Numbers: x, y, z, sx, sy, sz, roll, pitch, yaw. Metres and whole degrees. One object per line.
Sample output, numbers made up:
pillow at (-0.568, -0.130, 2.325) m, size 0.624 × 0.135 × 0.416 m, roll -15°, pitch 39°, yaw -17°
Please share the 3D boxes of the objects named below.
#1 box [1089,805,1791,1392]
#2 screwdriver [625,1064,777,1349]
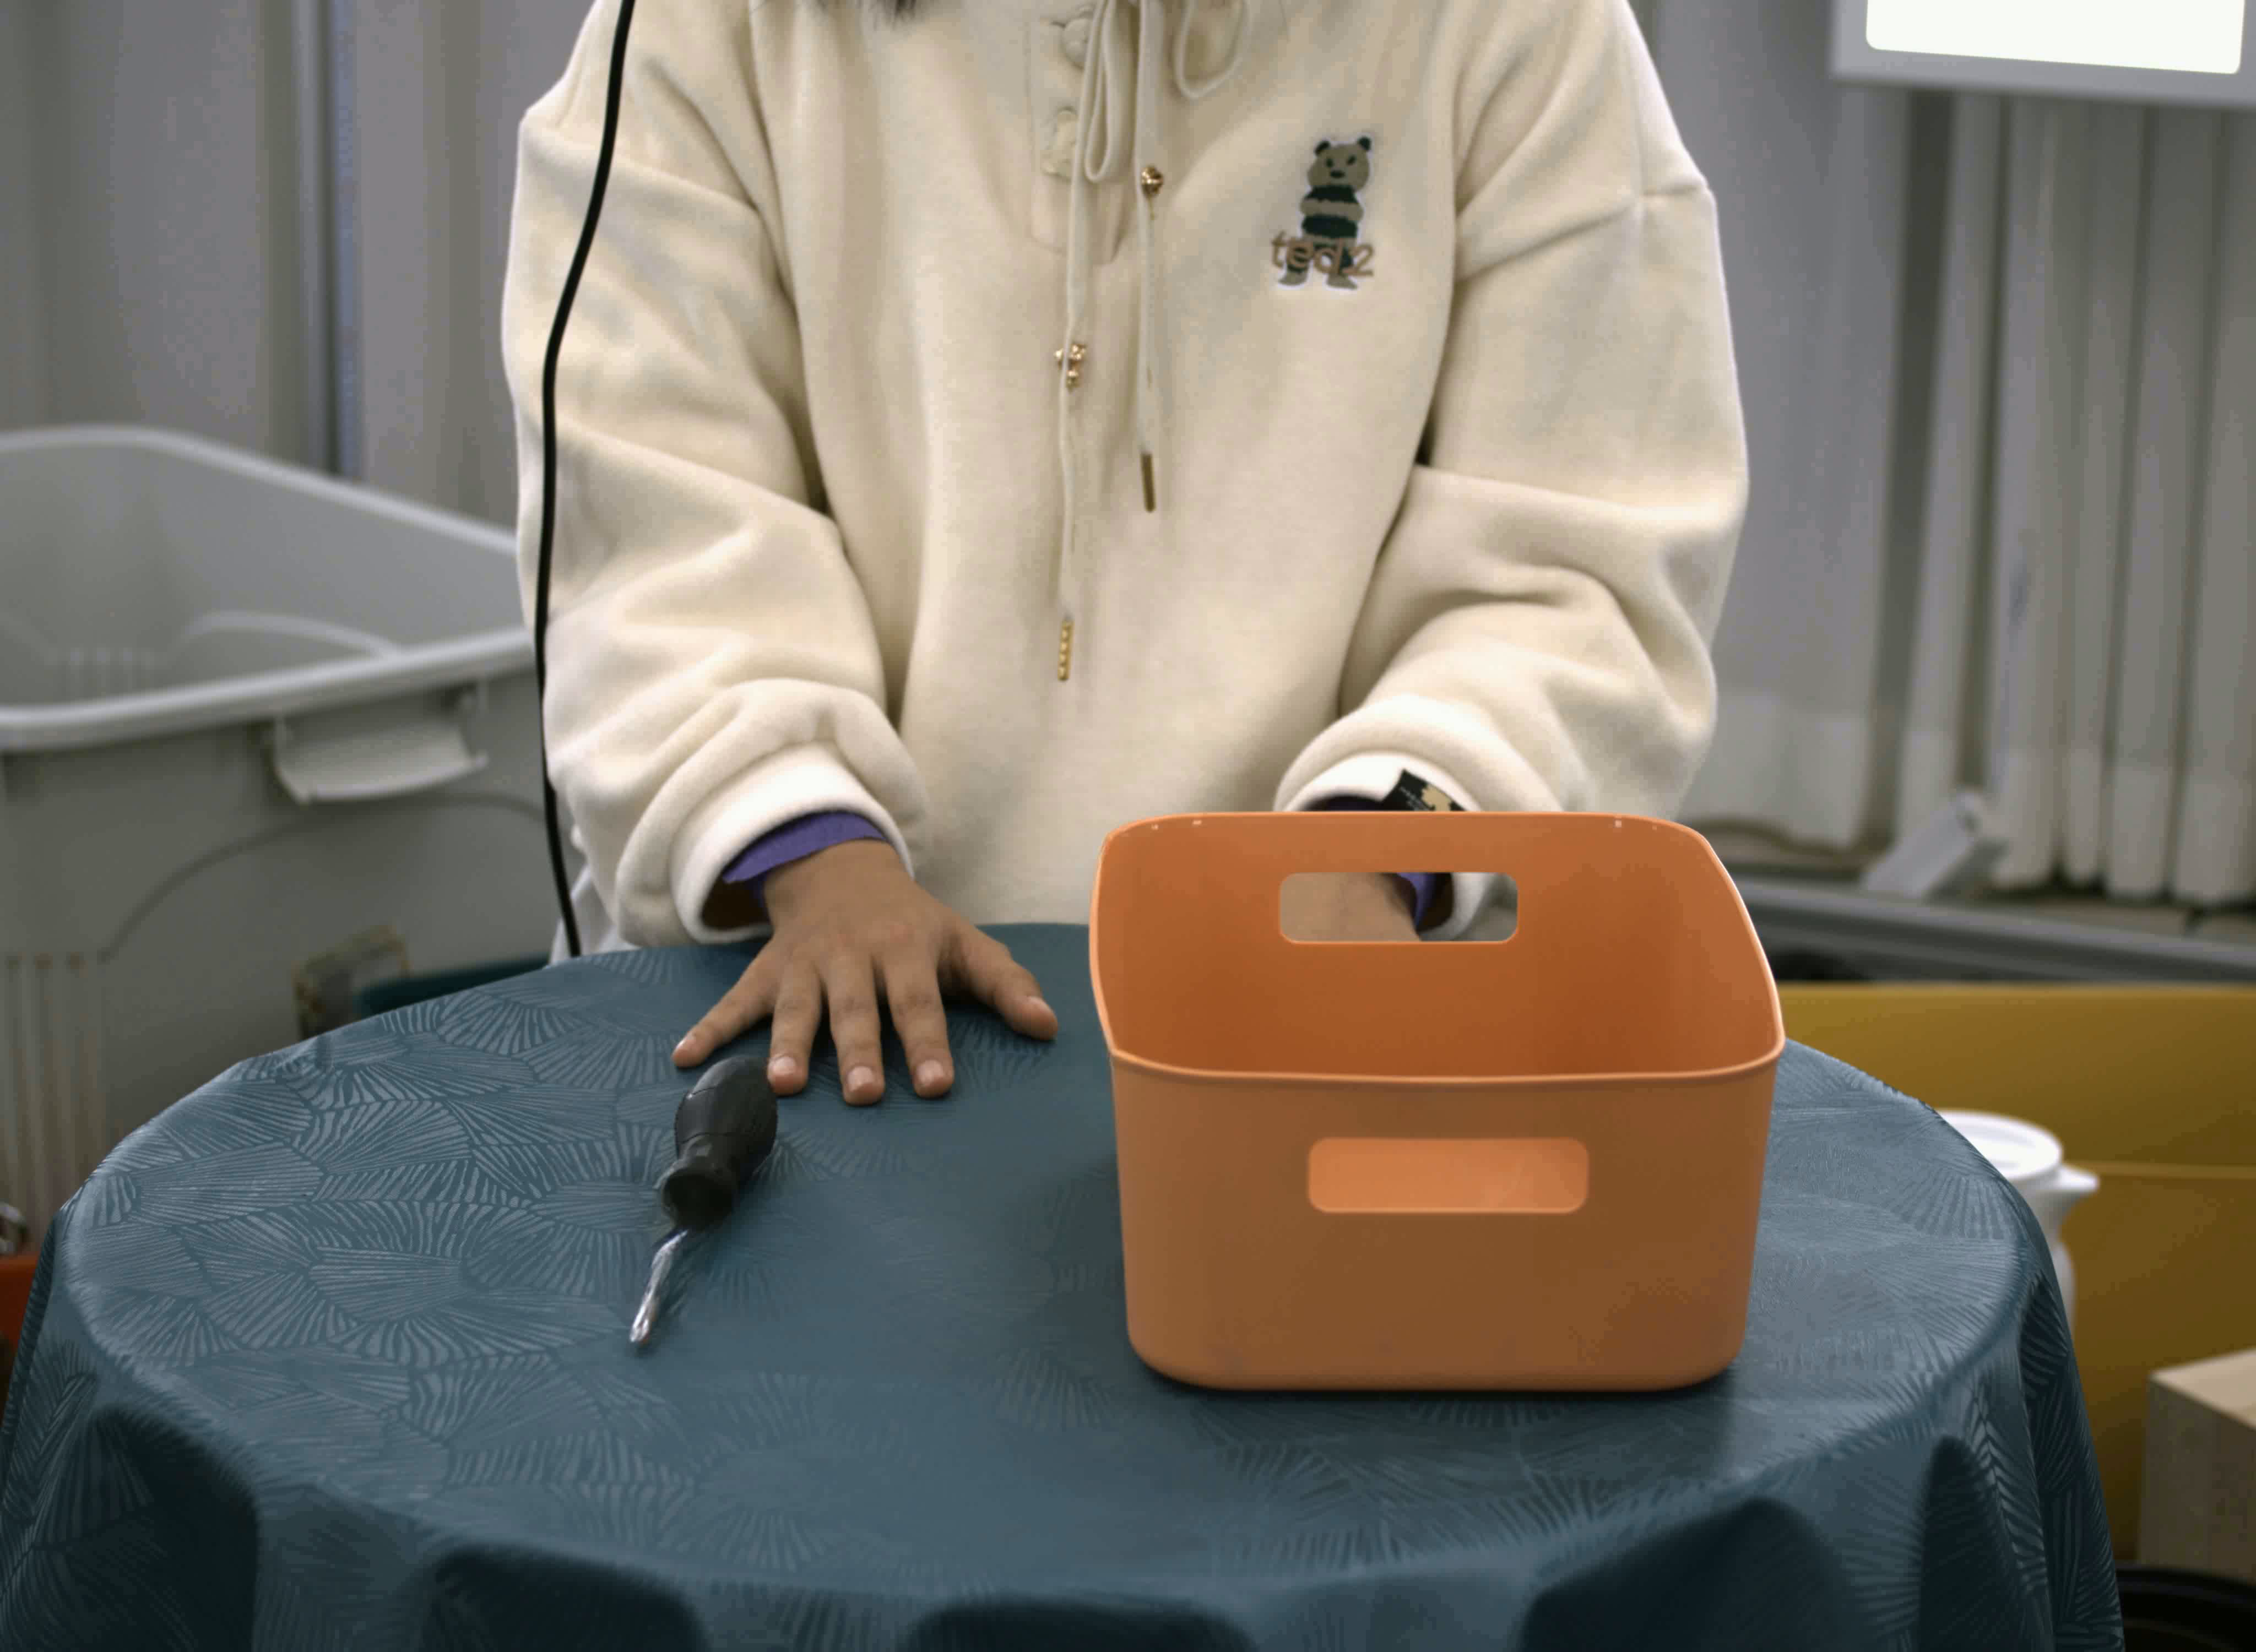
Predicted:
box at (0.088, 0.077, 1.553) m, size 0.199 × 0.103 × 0.271 m, roll 0°, pitch 16°, yaw -1°
screwdriver at (-0.133, 0.116, 1.571) m, size 0.031 × 0.032 × 0.195 m, roll 3°, pitch 20°, yaw 7°
